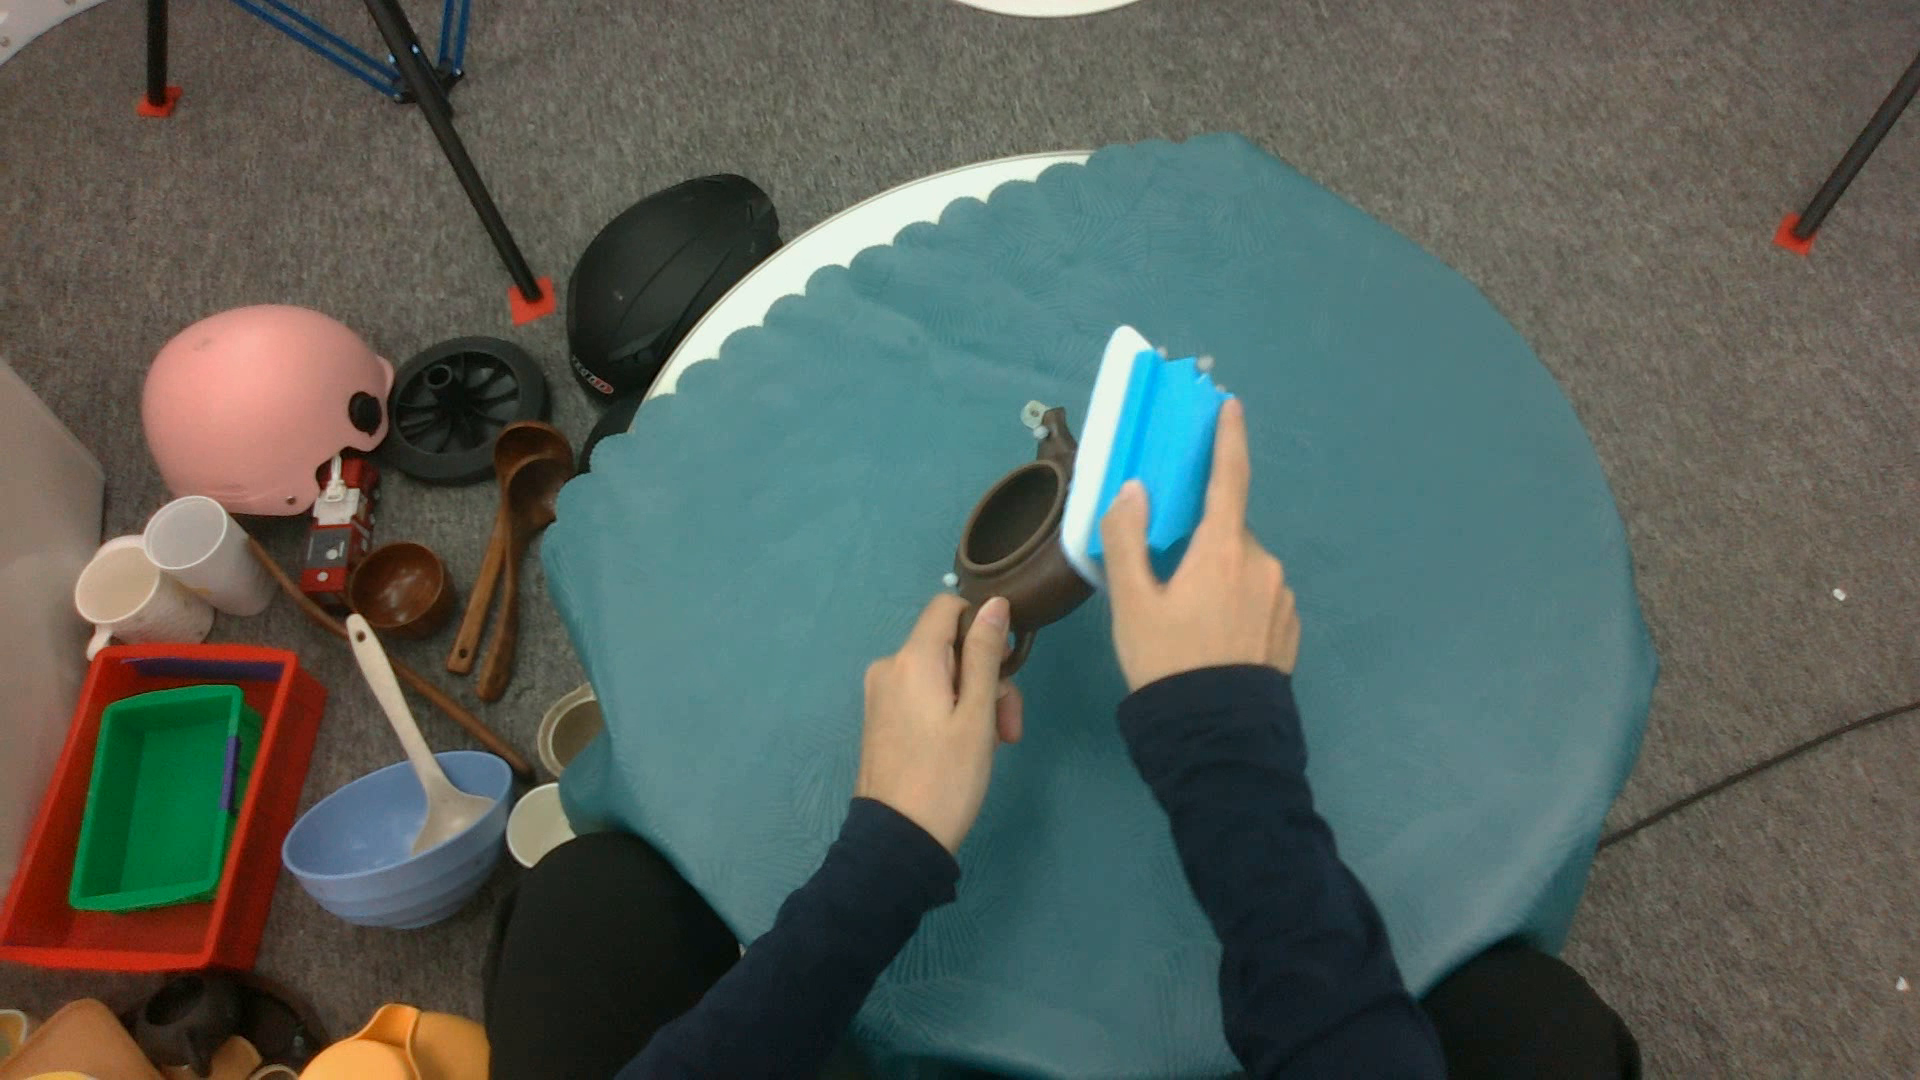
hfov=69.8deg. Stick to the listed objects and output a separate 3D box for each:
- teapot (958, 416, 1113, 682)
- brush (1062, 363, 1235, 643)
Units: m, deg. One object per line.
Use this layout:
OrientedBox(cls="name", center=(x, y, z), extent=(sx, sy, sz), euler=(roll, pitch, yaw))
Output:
OrientedBox(cls="teapot", center=(0.041, 0.006, 0.709), extent=(0.102, 0.054, 0.154), euler=(-17, 39, 43))
OrientedBox(cls="brush", center=(0.104, -0.025, 0.693), extent=(0.055, 0.084, 0.144), euler=(-20, 40, 44))
